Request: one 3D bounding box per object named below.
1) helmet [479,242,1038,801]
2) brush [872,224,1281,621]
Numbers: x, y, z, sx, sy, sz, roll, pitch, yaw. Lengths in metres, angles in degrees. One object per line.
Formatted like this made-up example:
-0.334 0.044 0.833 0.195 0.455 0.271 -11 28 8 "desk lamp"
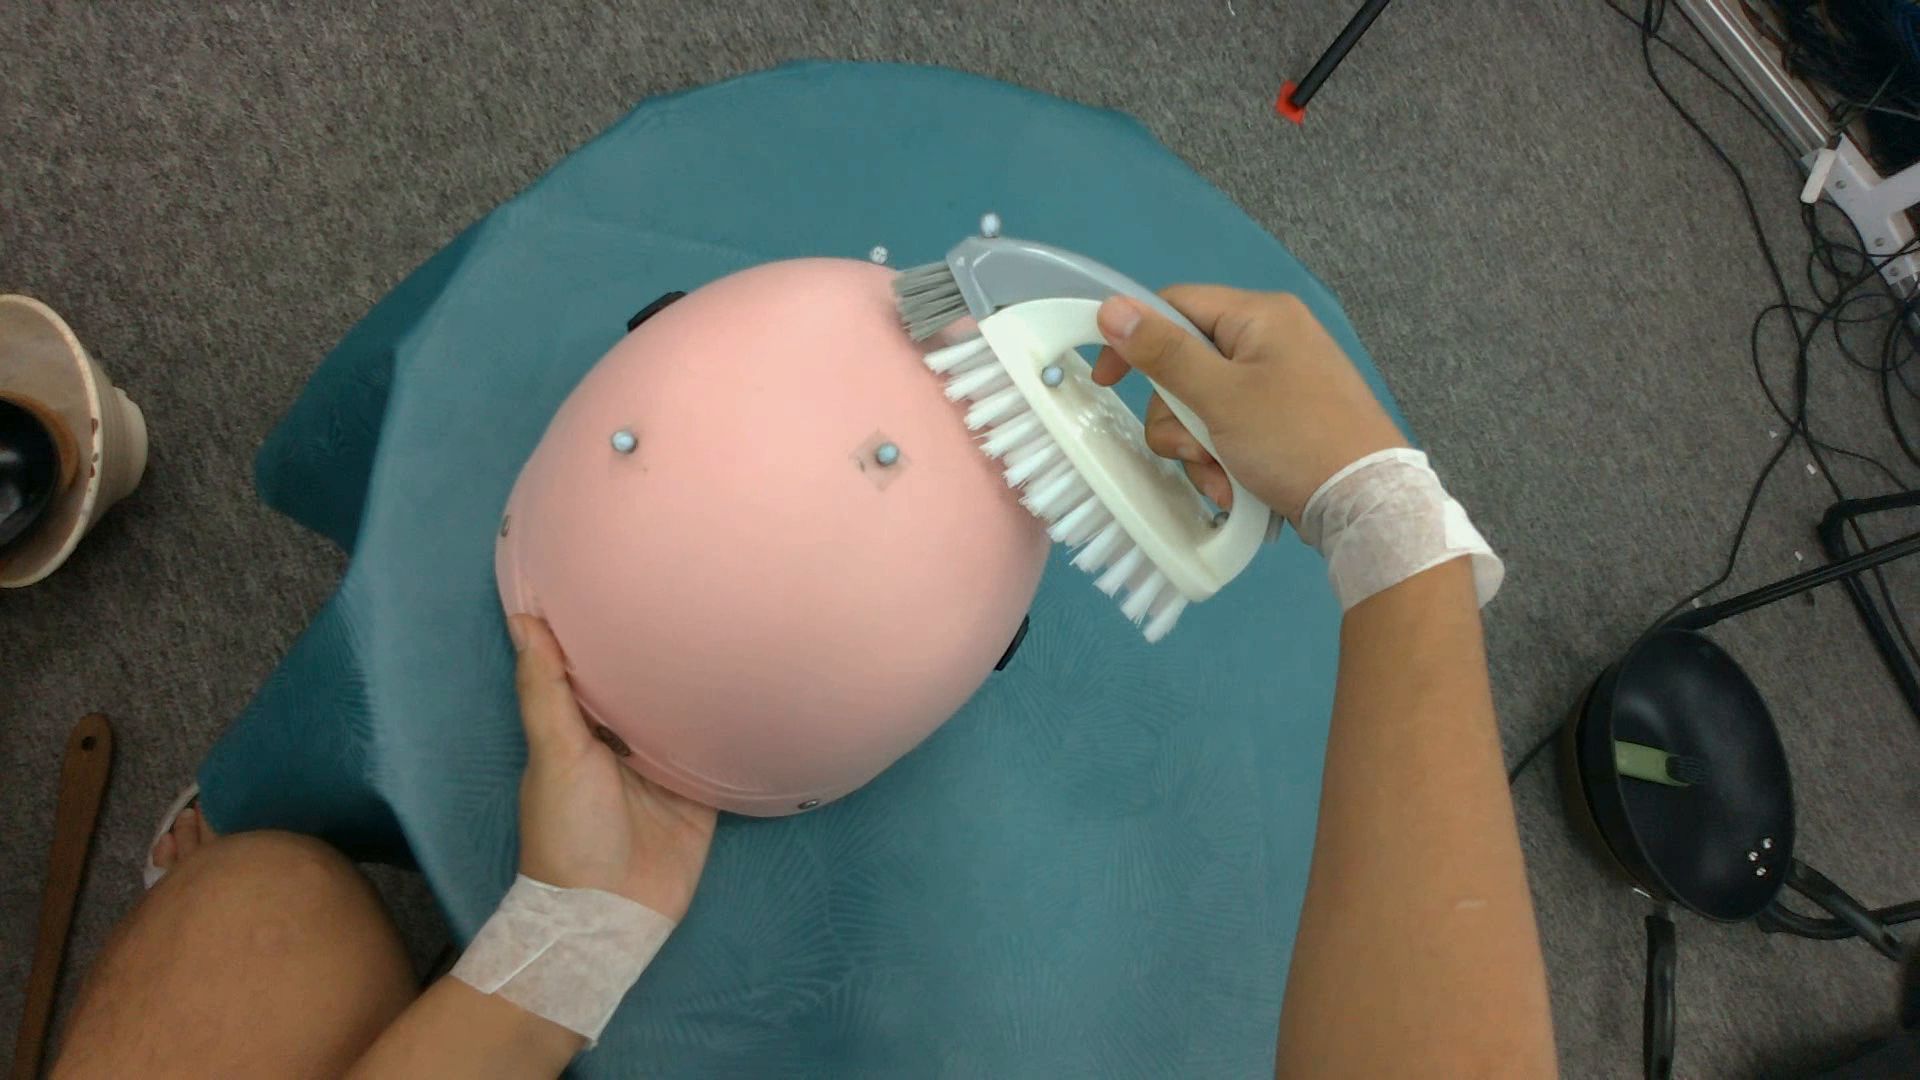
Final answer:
-0.061 -0.030 0.587 0.234 0.158 0.267 42 55 -7 "helmet"
0.050 -0.061 0.527 0.175 0.094 0.062 48 27 -1 "brush"
